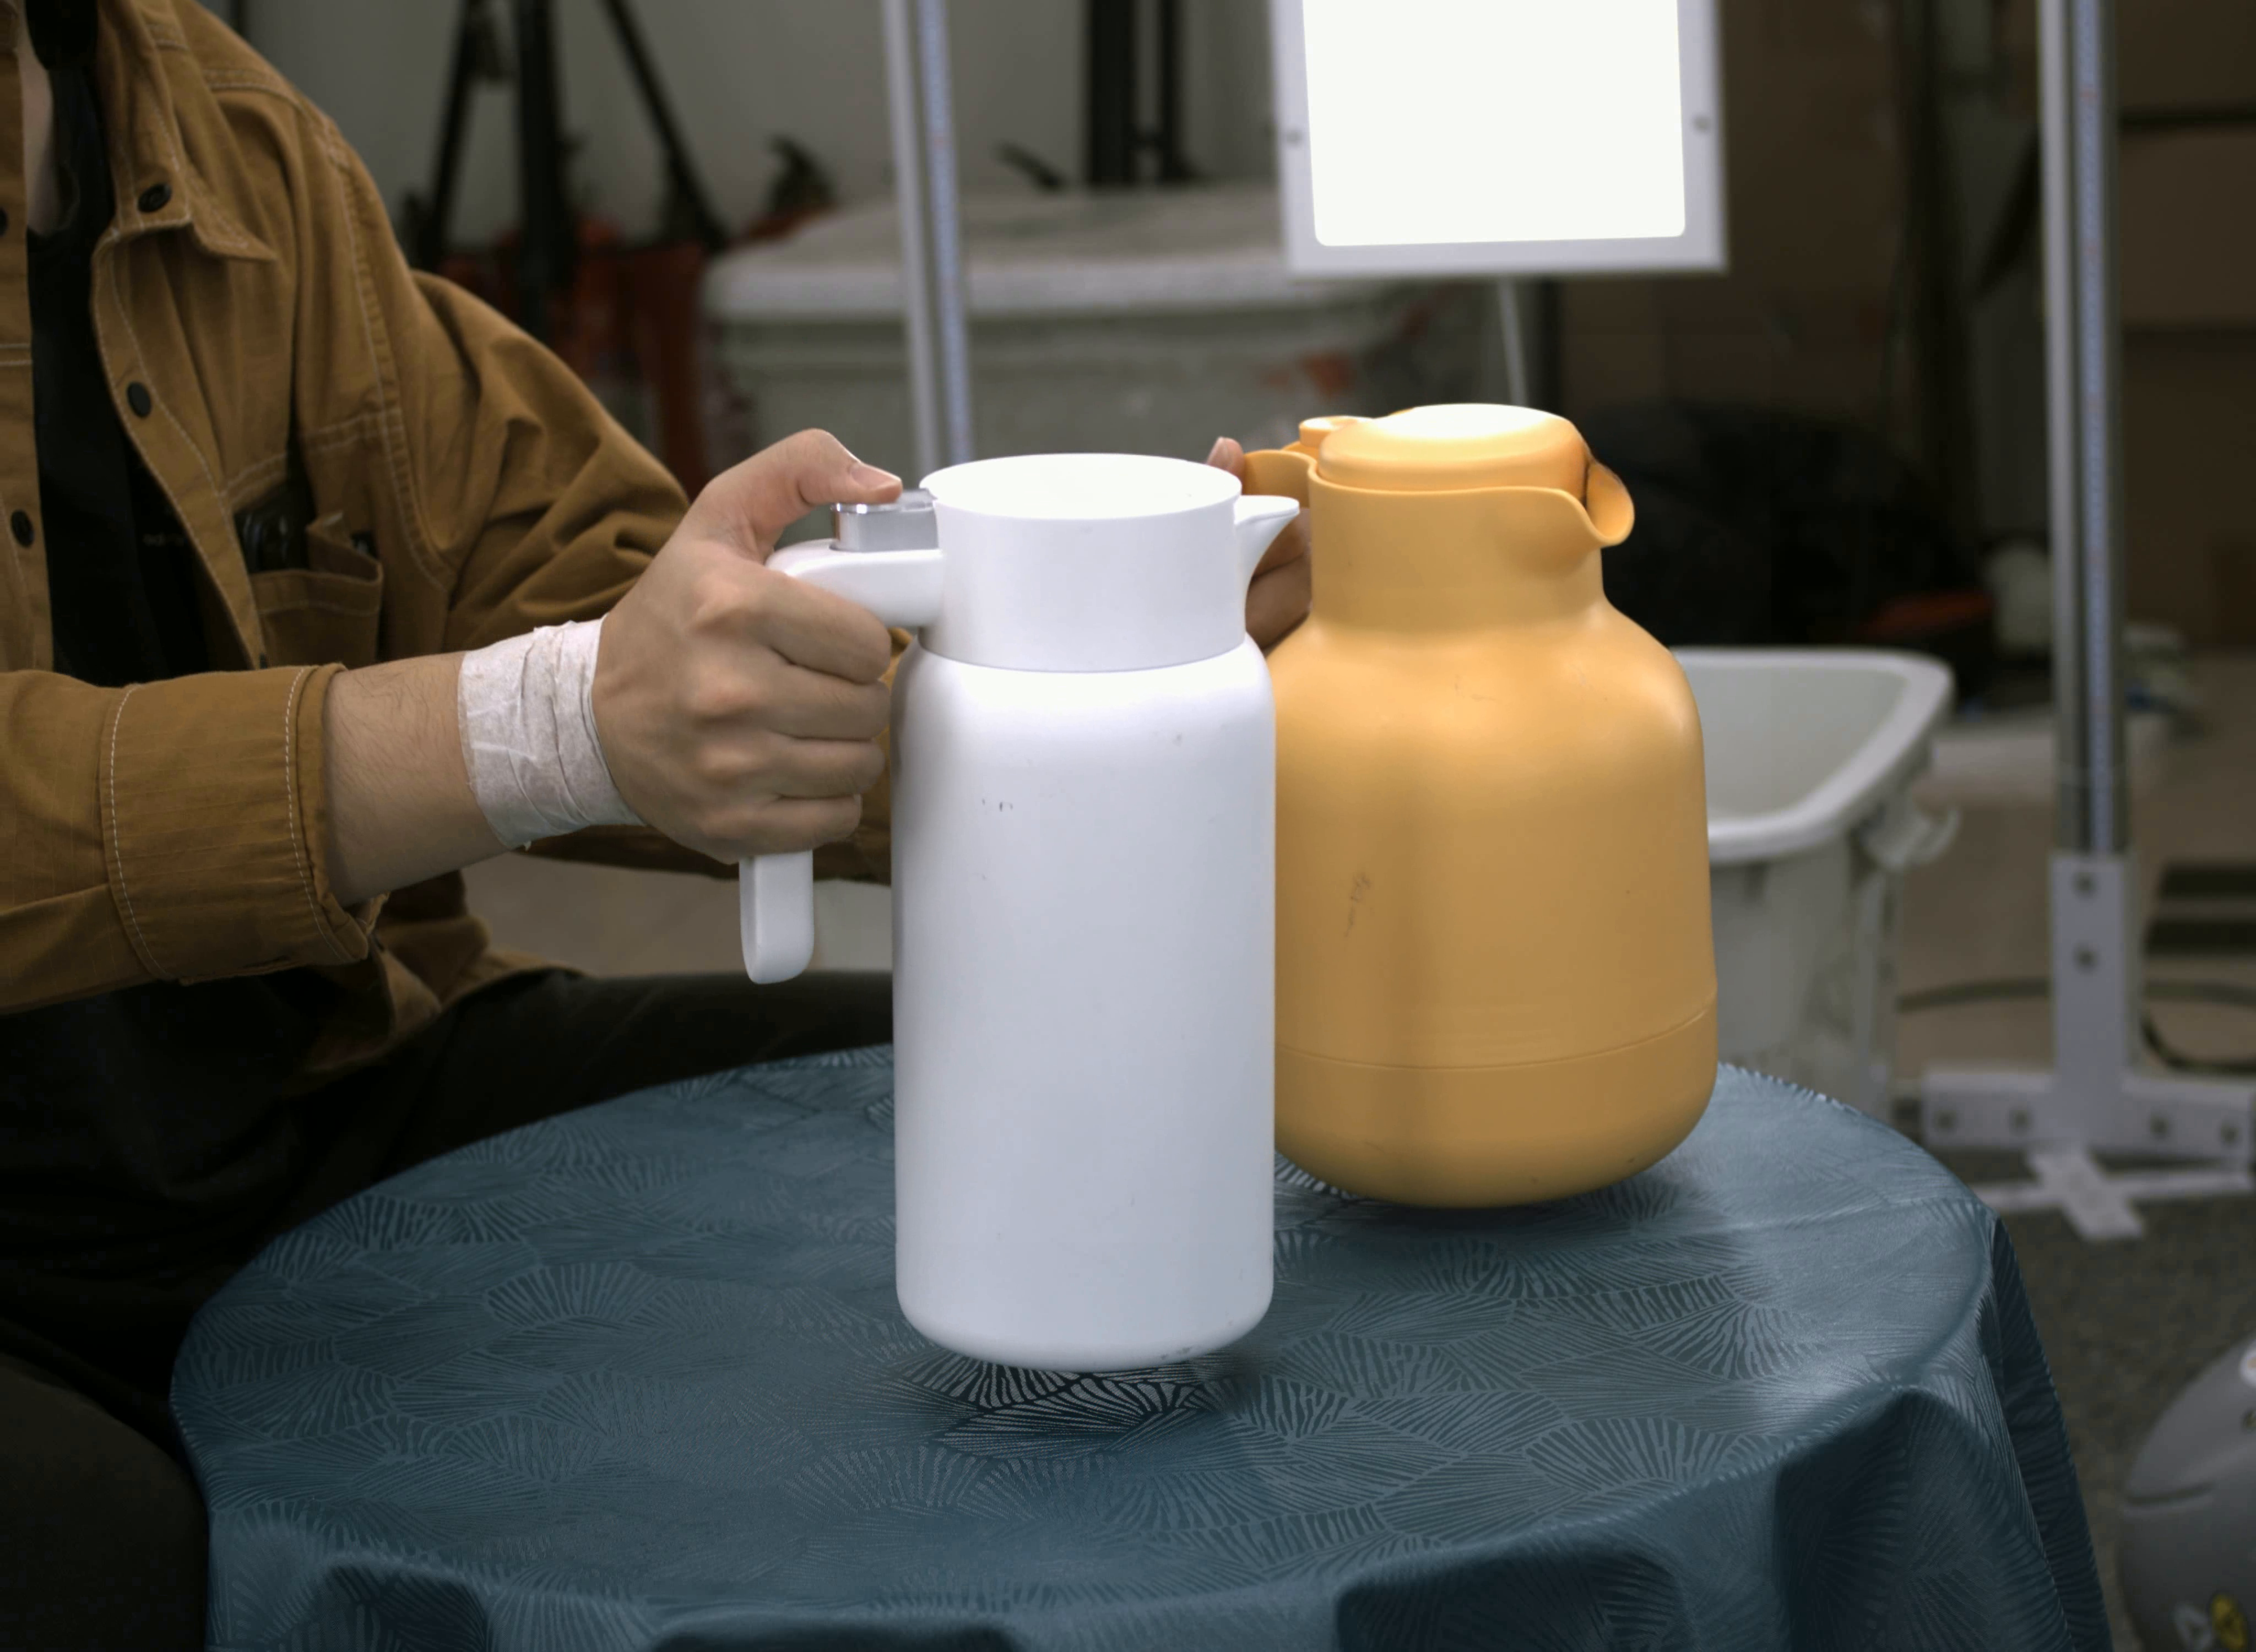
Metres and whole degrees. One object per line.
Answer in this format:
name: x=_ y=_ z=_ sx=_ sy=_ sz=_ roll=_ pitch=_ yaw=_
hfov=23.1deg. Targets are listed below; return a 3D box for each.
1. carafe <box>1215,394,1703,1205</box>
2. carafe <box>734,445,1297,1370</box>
carafe: x=0.100 y=-0.017 z=1.861 sx=0.159 sy=0.261 sz=0.206 roll=-12 pitch=19 yaw=-37
carafe: x=-0.031 y=0.025 z=1.667 sx=0.170 sy=0.270 sz=0.125 roll=-4 pitch=17 yaw=-13
